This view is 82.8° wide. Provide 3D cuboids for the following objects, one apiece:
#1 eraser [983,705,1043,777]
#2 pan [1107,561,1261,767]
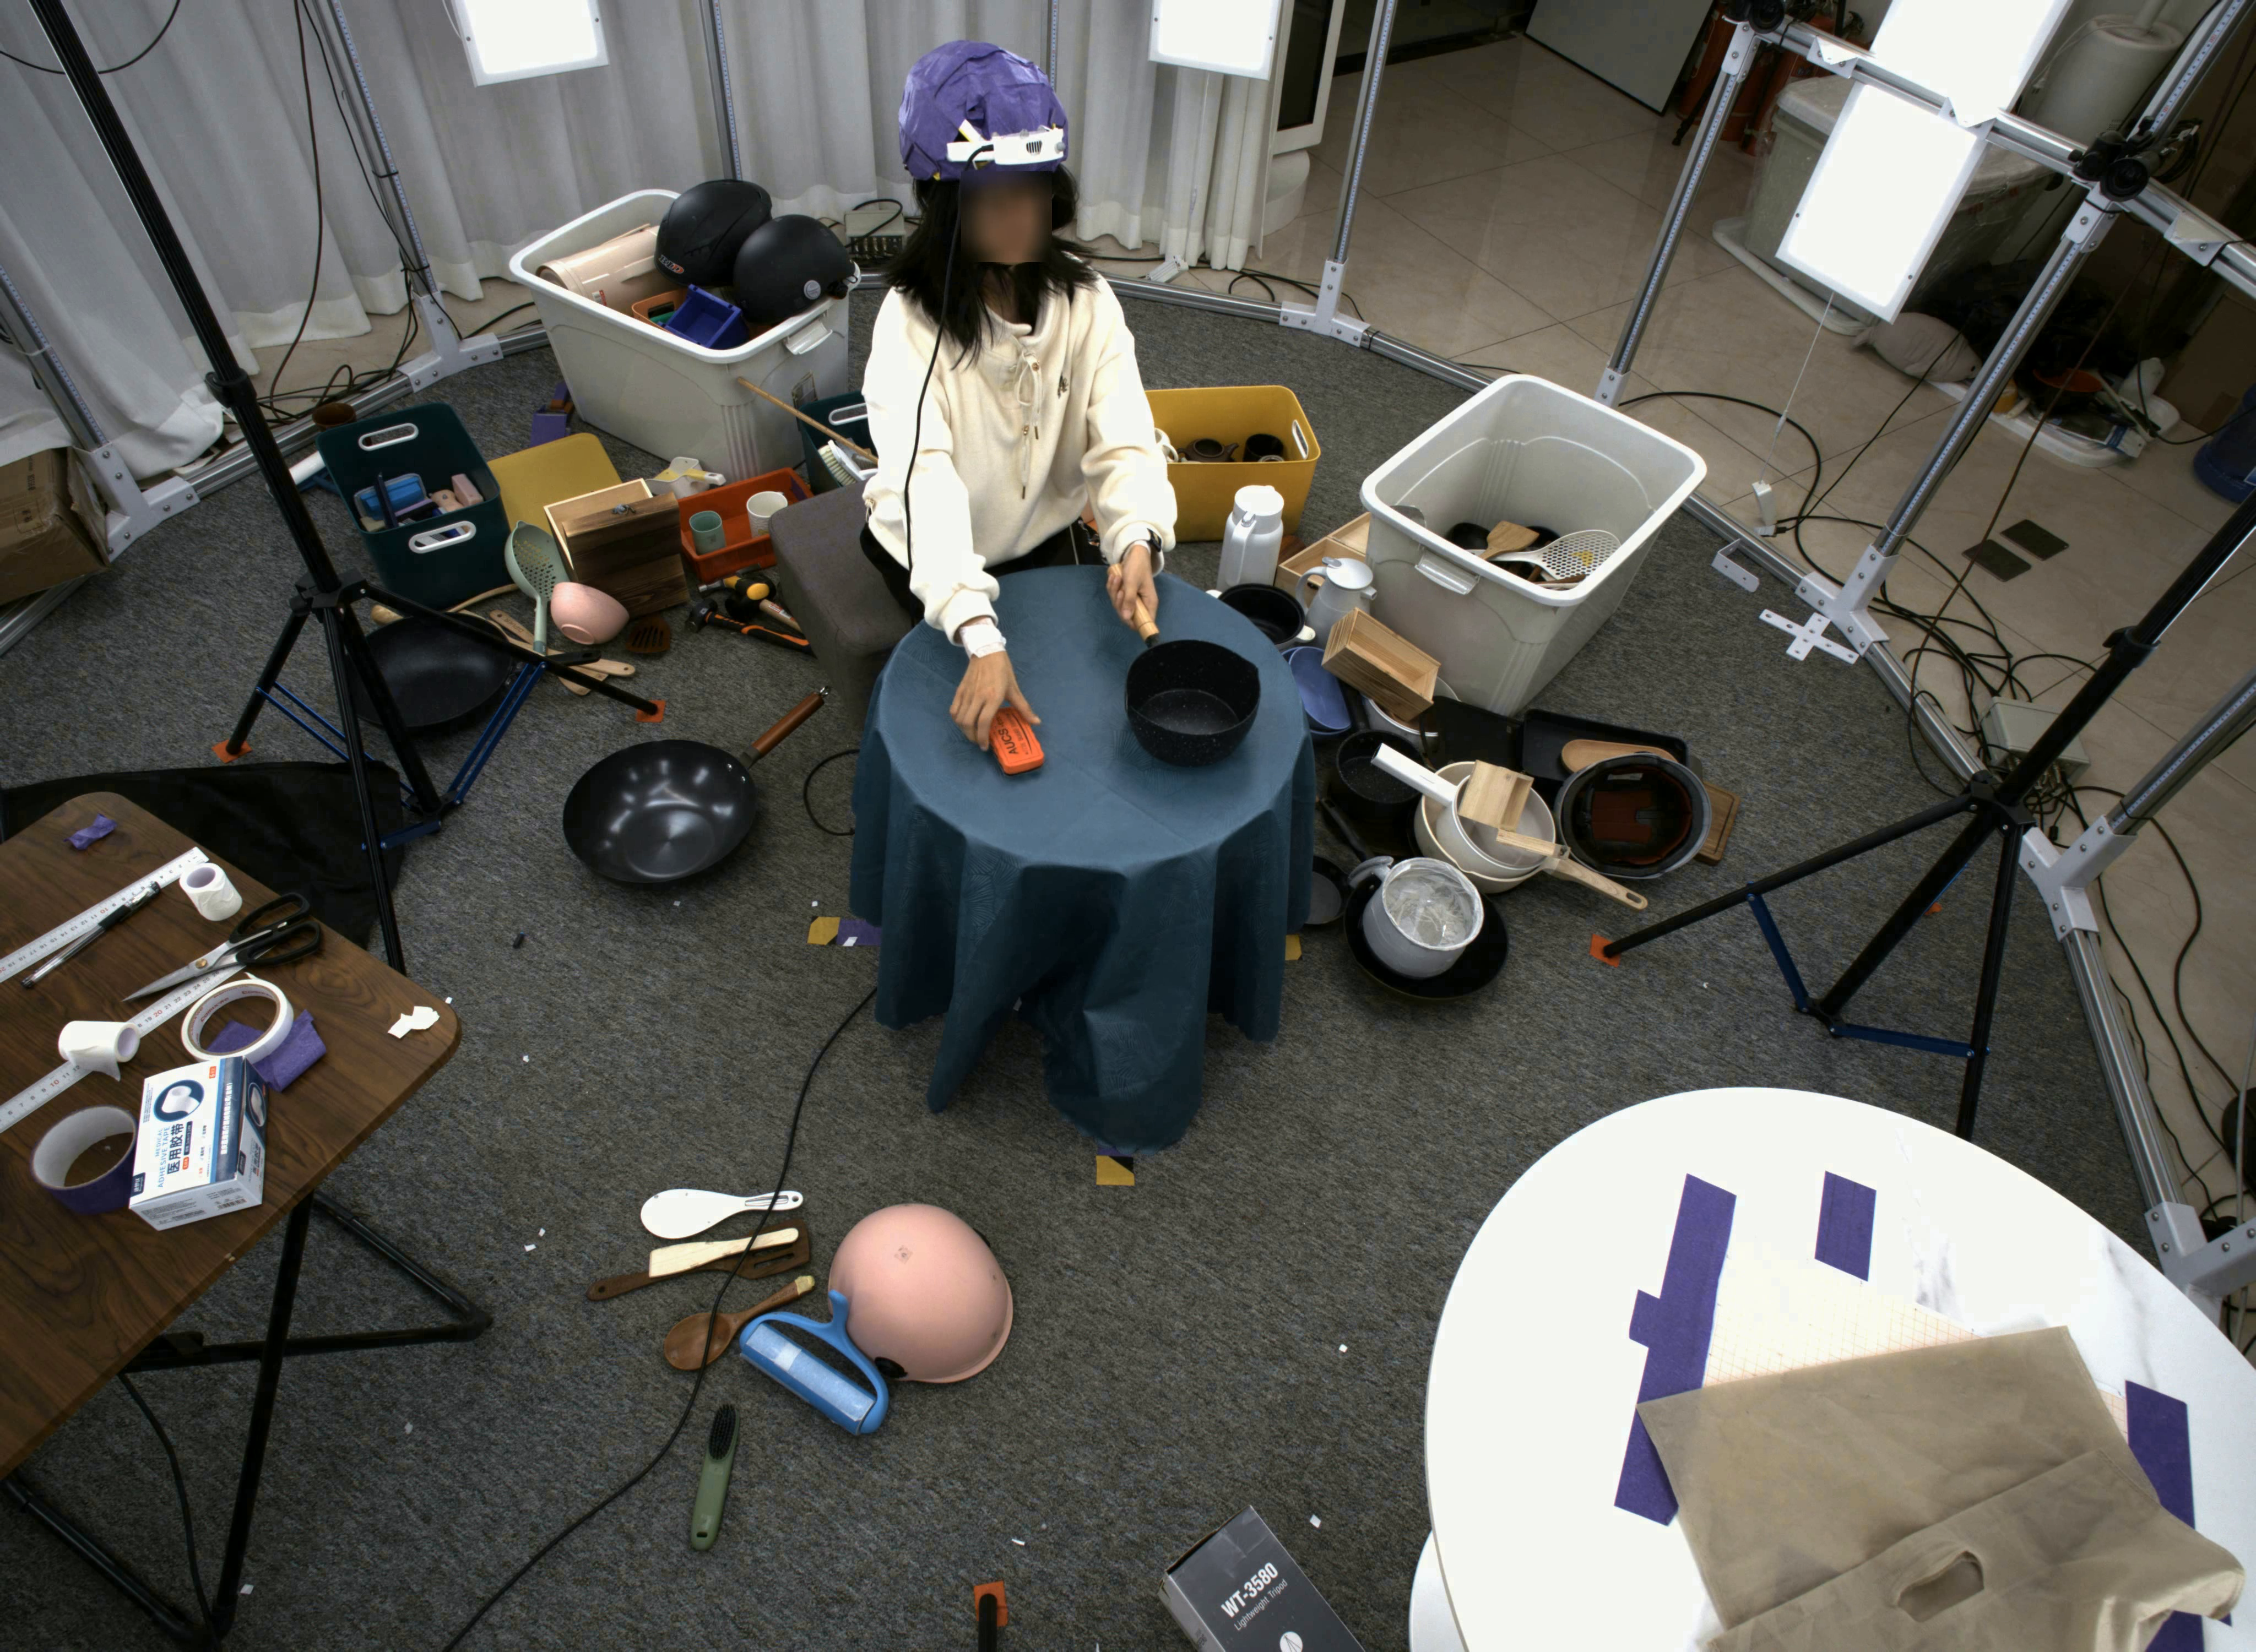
[{"bbox_3d":[-0.157,-0.116,1.745,0.059,0.022,0.110,-15,52,-15],"label":"eraser"},{"bbox_3d":[0.049,-0.228,1.801,0.208,0.105,0.350,-20,55,-19],"label":"pan"}]
